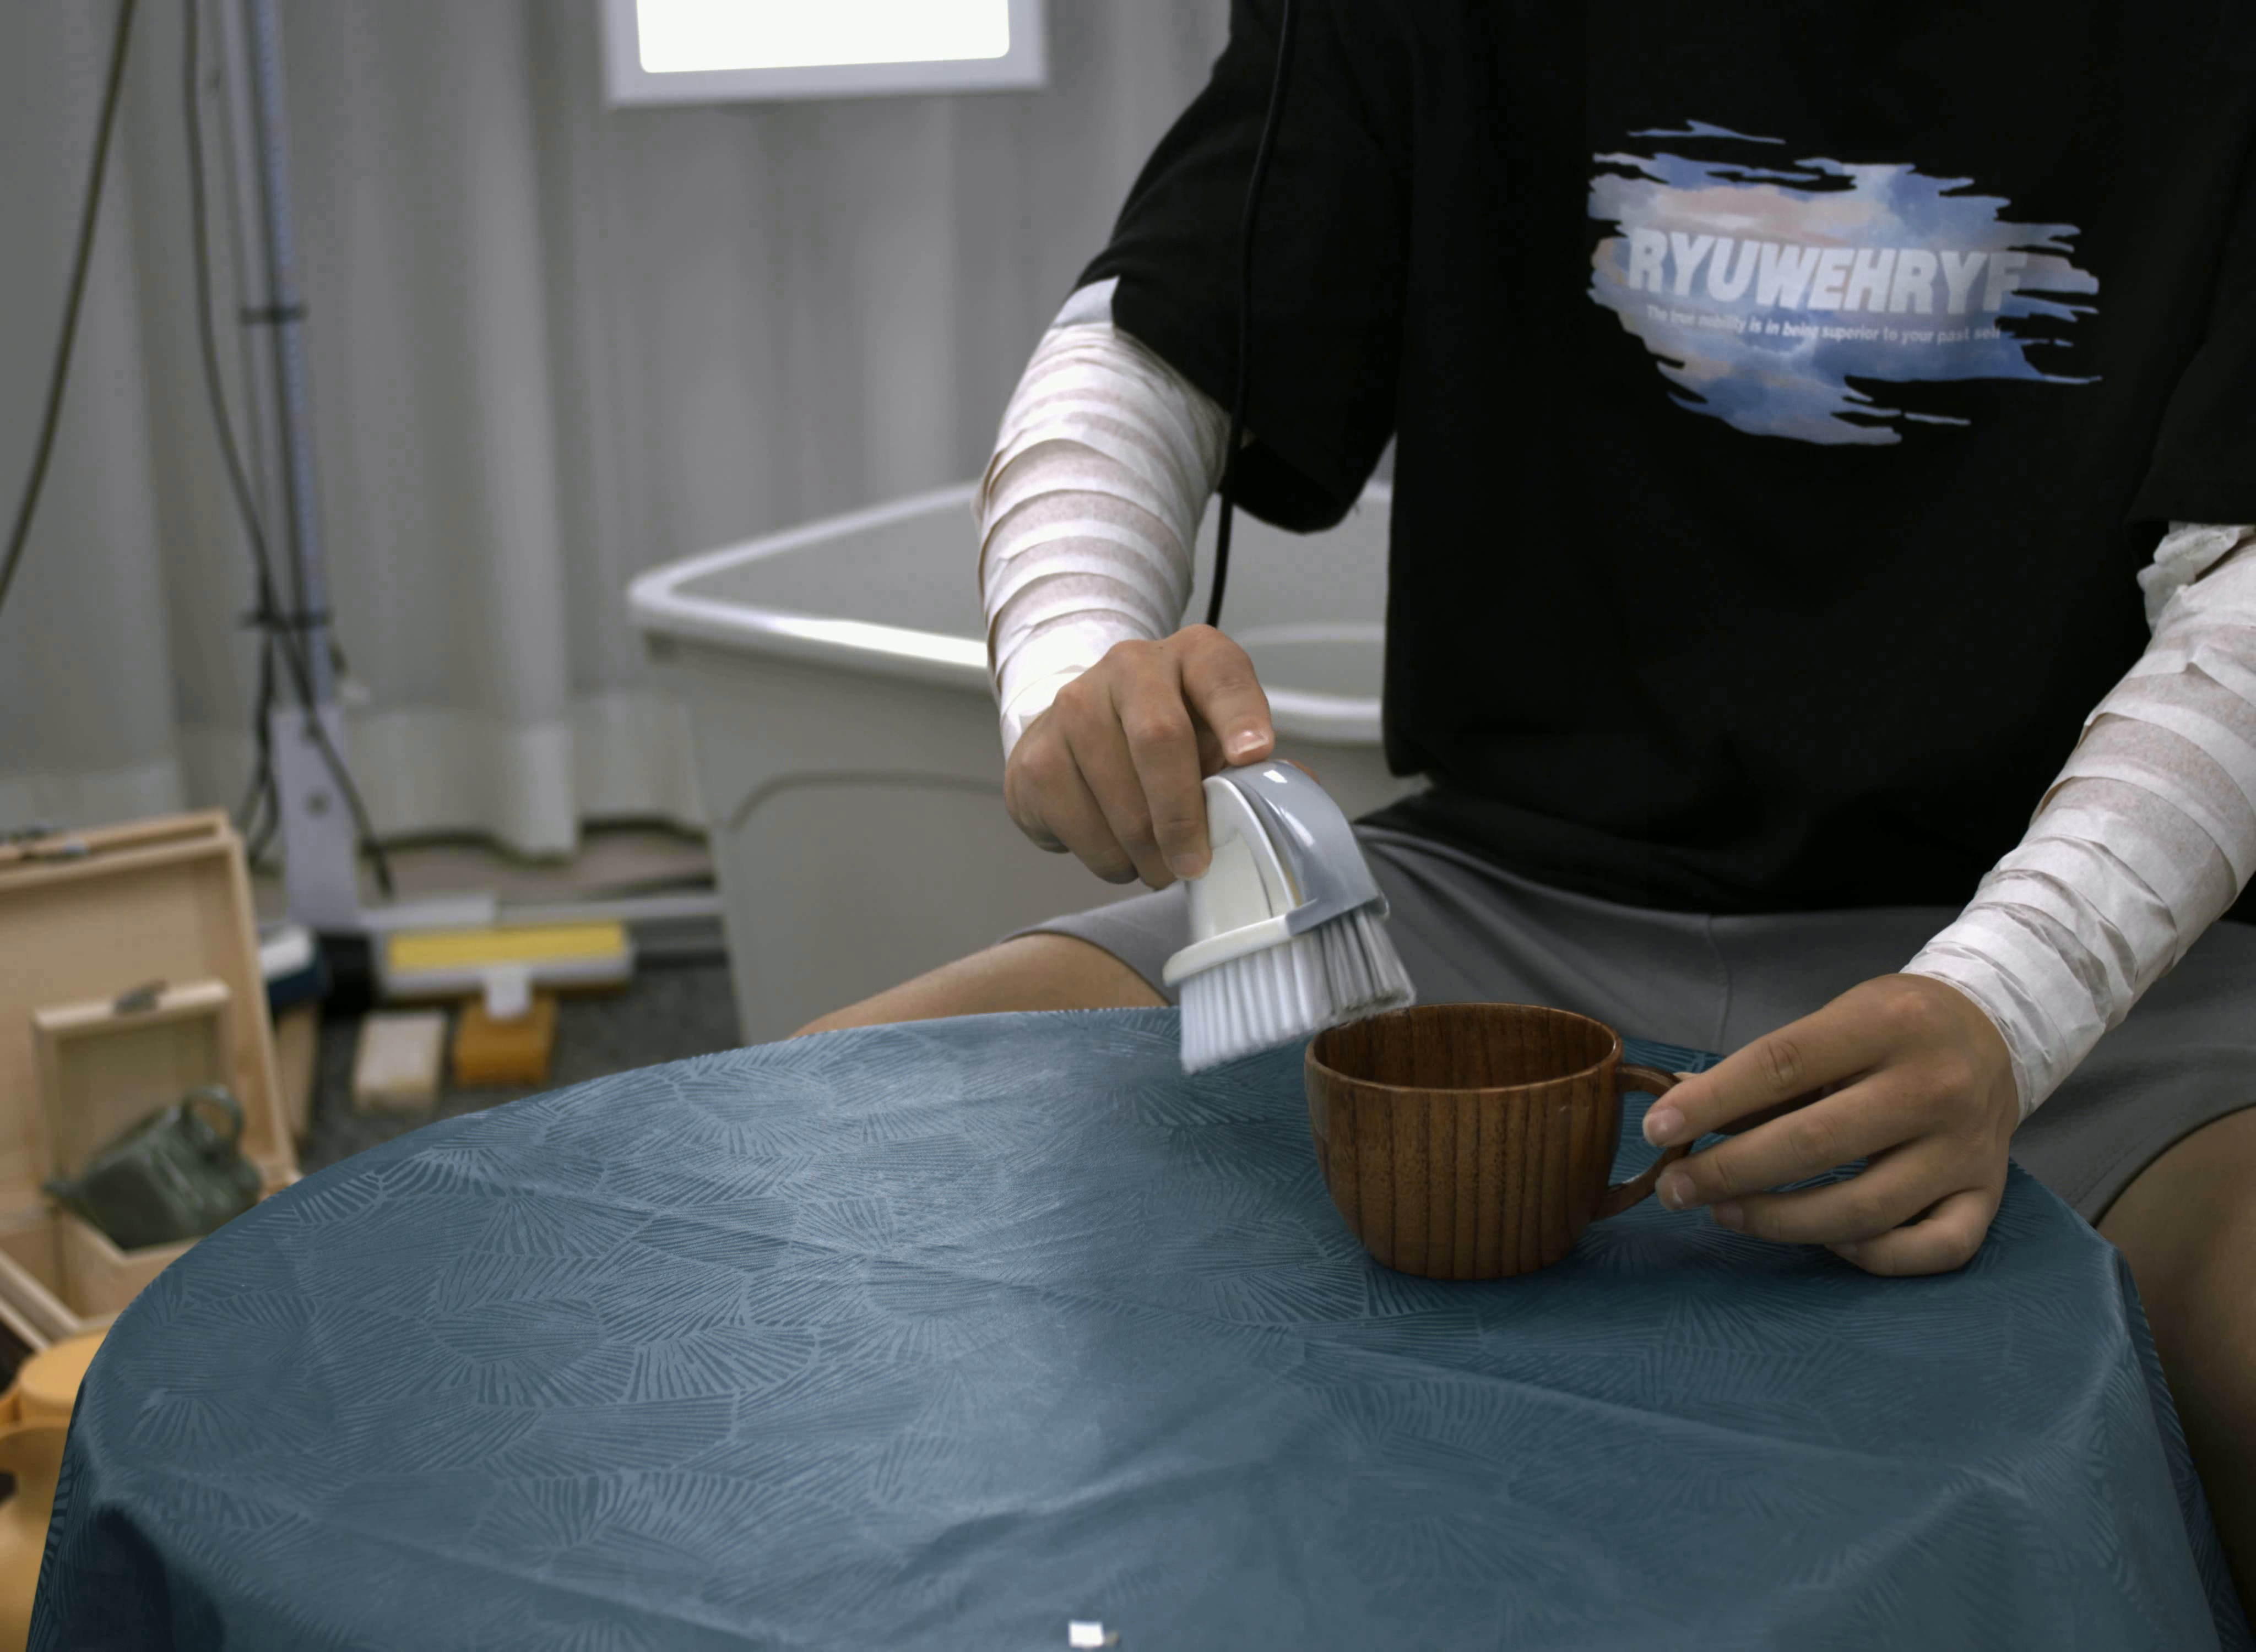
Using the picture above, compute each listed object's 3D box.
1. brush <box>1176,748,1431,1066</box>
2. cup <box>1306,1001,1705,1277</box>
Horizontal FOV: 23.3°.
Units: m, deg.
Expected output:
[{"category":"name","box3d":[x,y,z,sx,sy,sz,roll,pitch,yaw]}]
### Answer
[{"category":"brush","box3d":[0.052,0.019,1.701,0.061,0.094,0.175,-19,-2,-12]},{"category":"cup","box3d":[0.112,0.096,1.634,0.119,0.067,0.096,3,13,16]}]
